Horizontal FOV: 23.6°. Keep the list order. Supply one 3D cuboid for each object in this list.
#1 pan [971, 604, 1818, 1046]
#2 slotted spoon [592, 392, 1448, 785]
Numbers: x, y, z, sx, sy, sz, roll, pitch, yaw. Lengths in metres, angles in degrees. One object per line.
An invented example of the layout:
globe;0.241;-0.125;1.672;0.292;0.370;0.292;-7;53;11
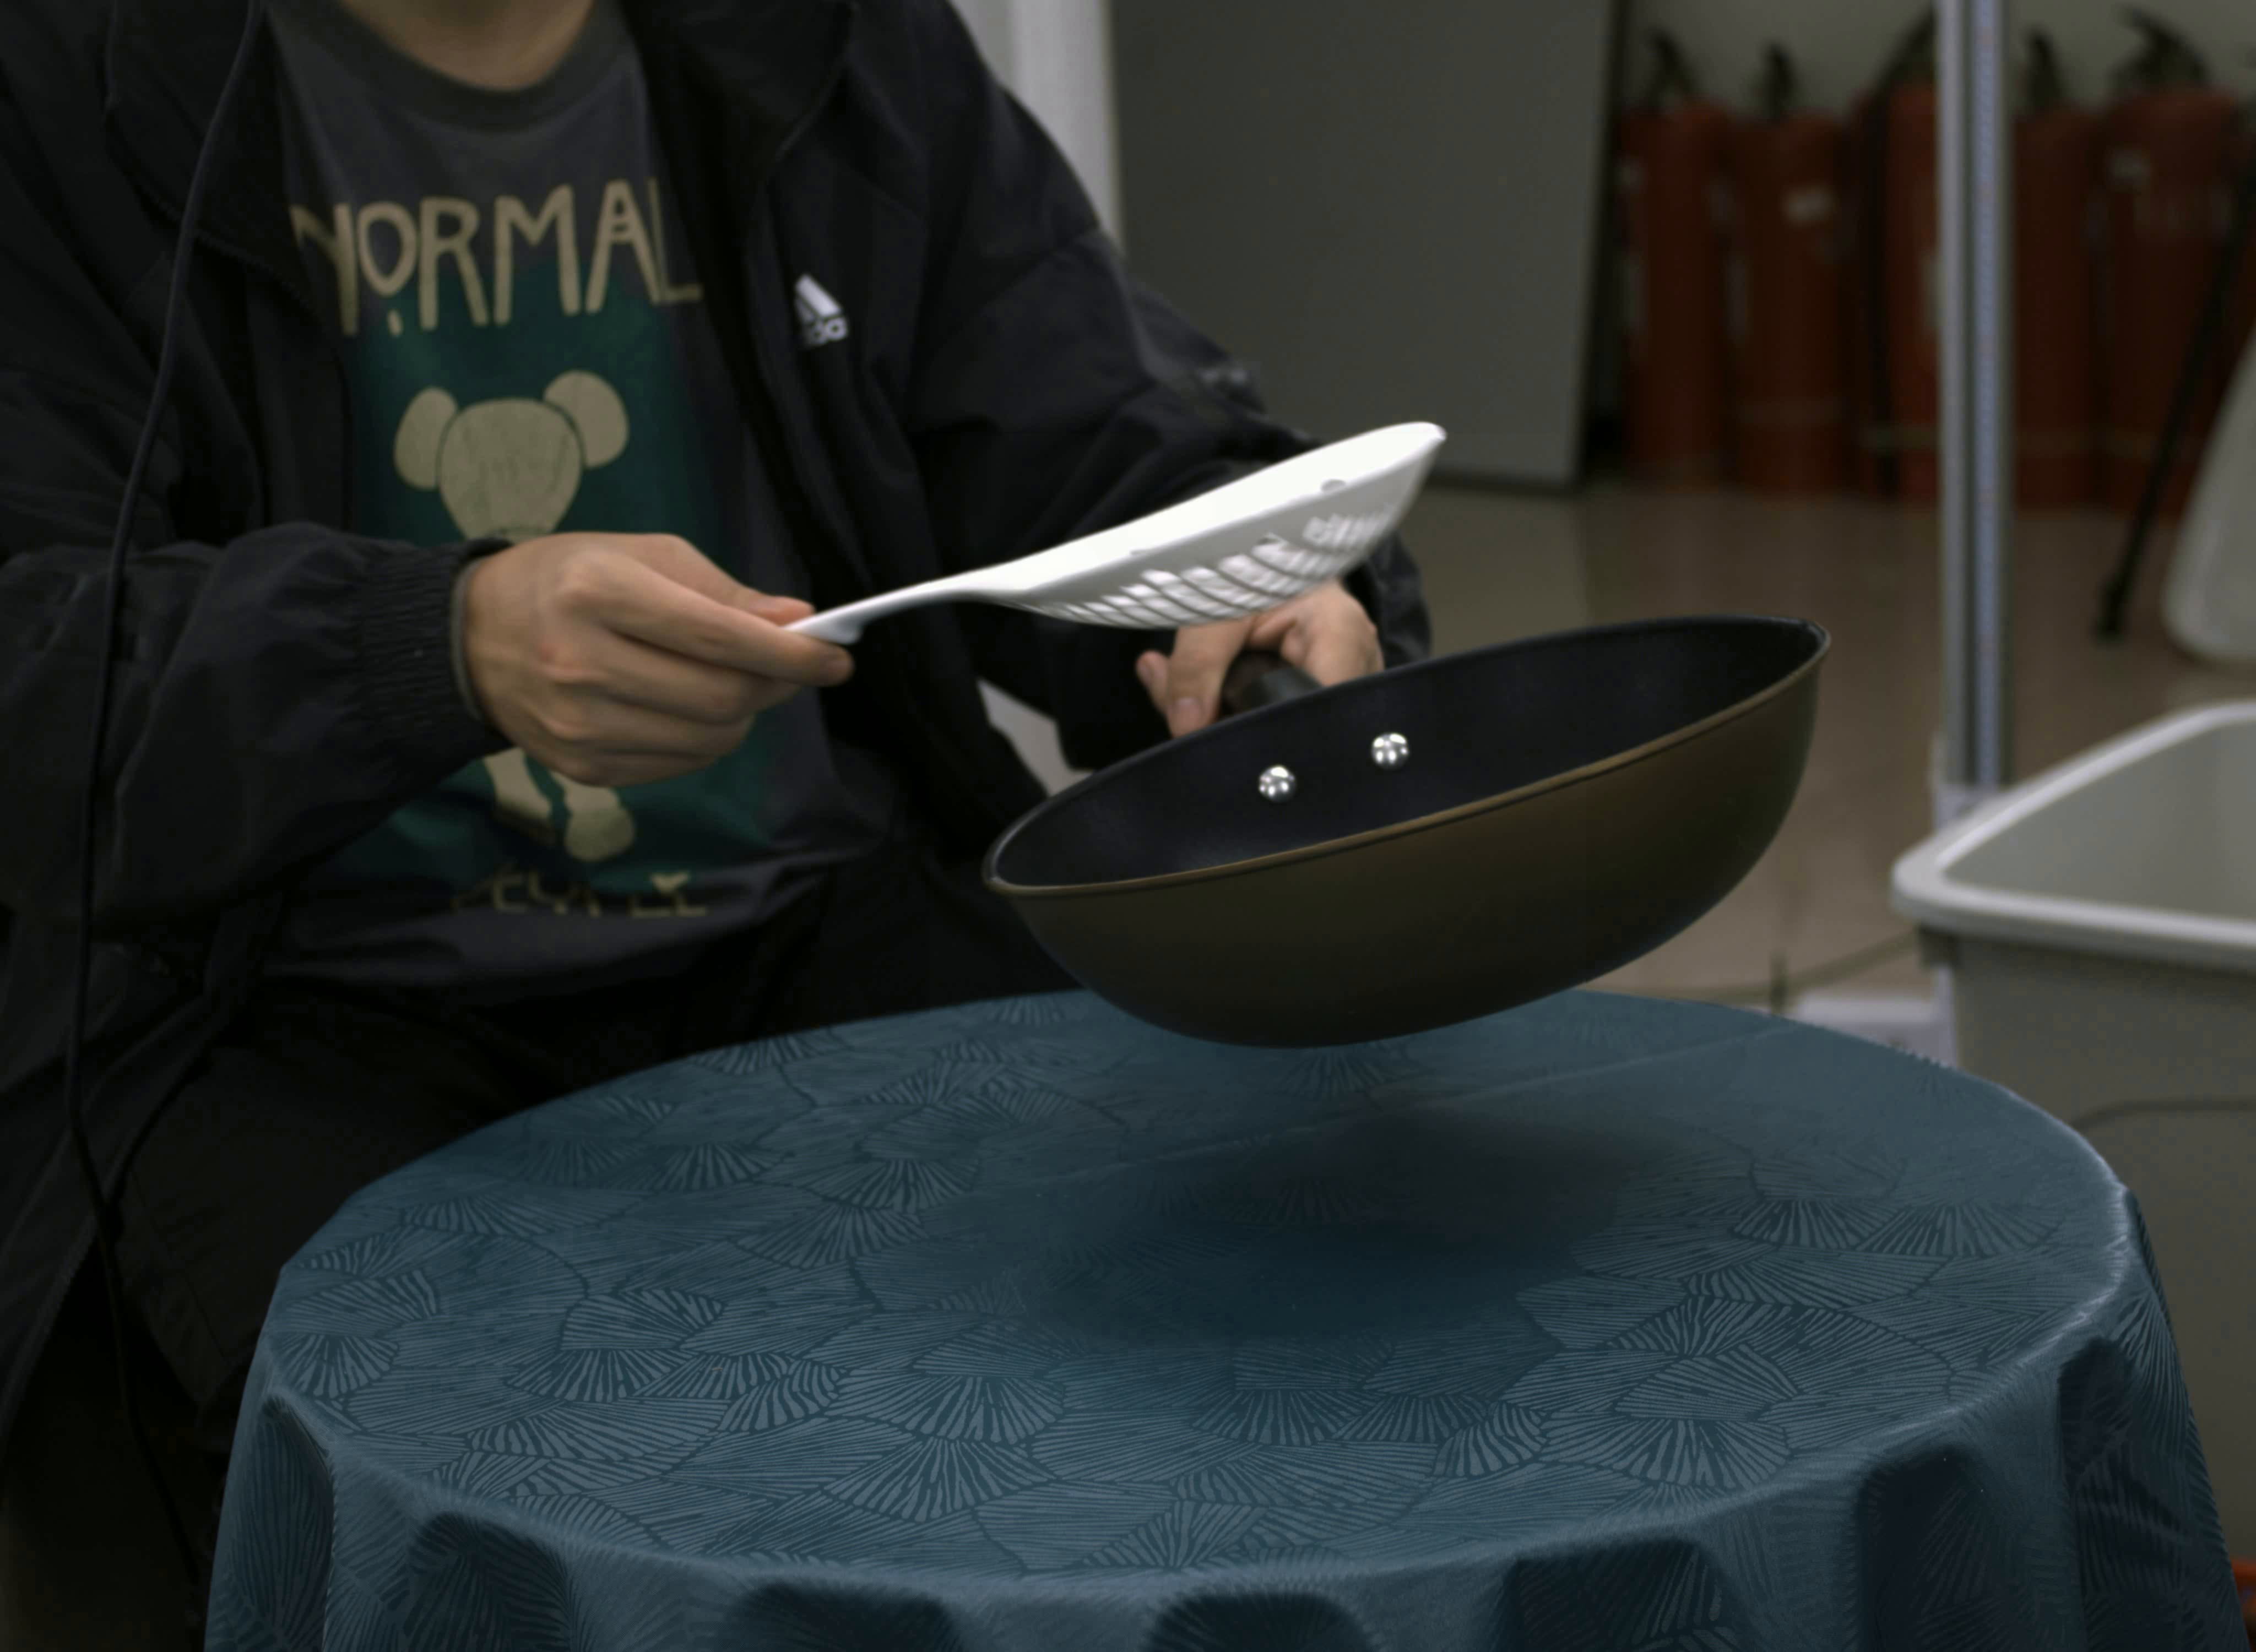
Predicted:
pan;0.079;-0.003;1.825;0.284;0.087;0.465;-18;9;-8
slotted spoon;-0.045;-0.072;1.788;0.350;0.050;0.135;-12;13;33
